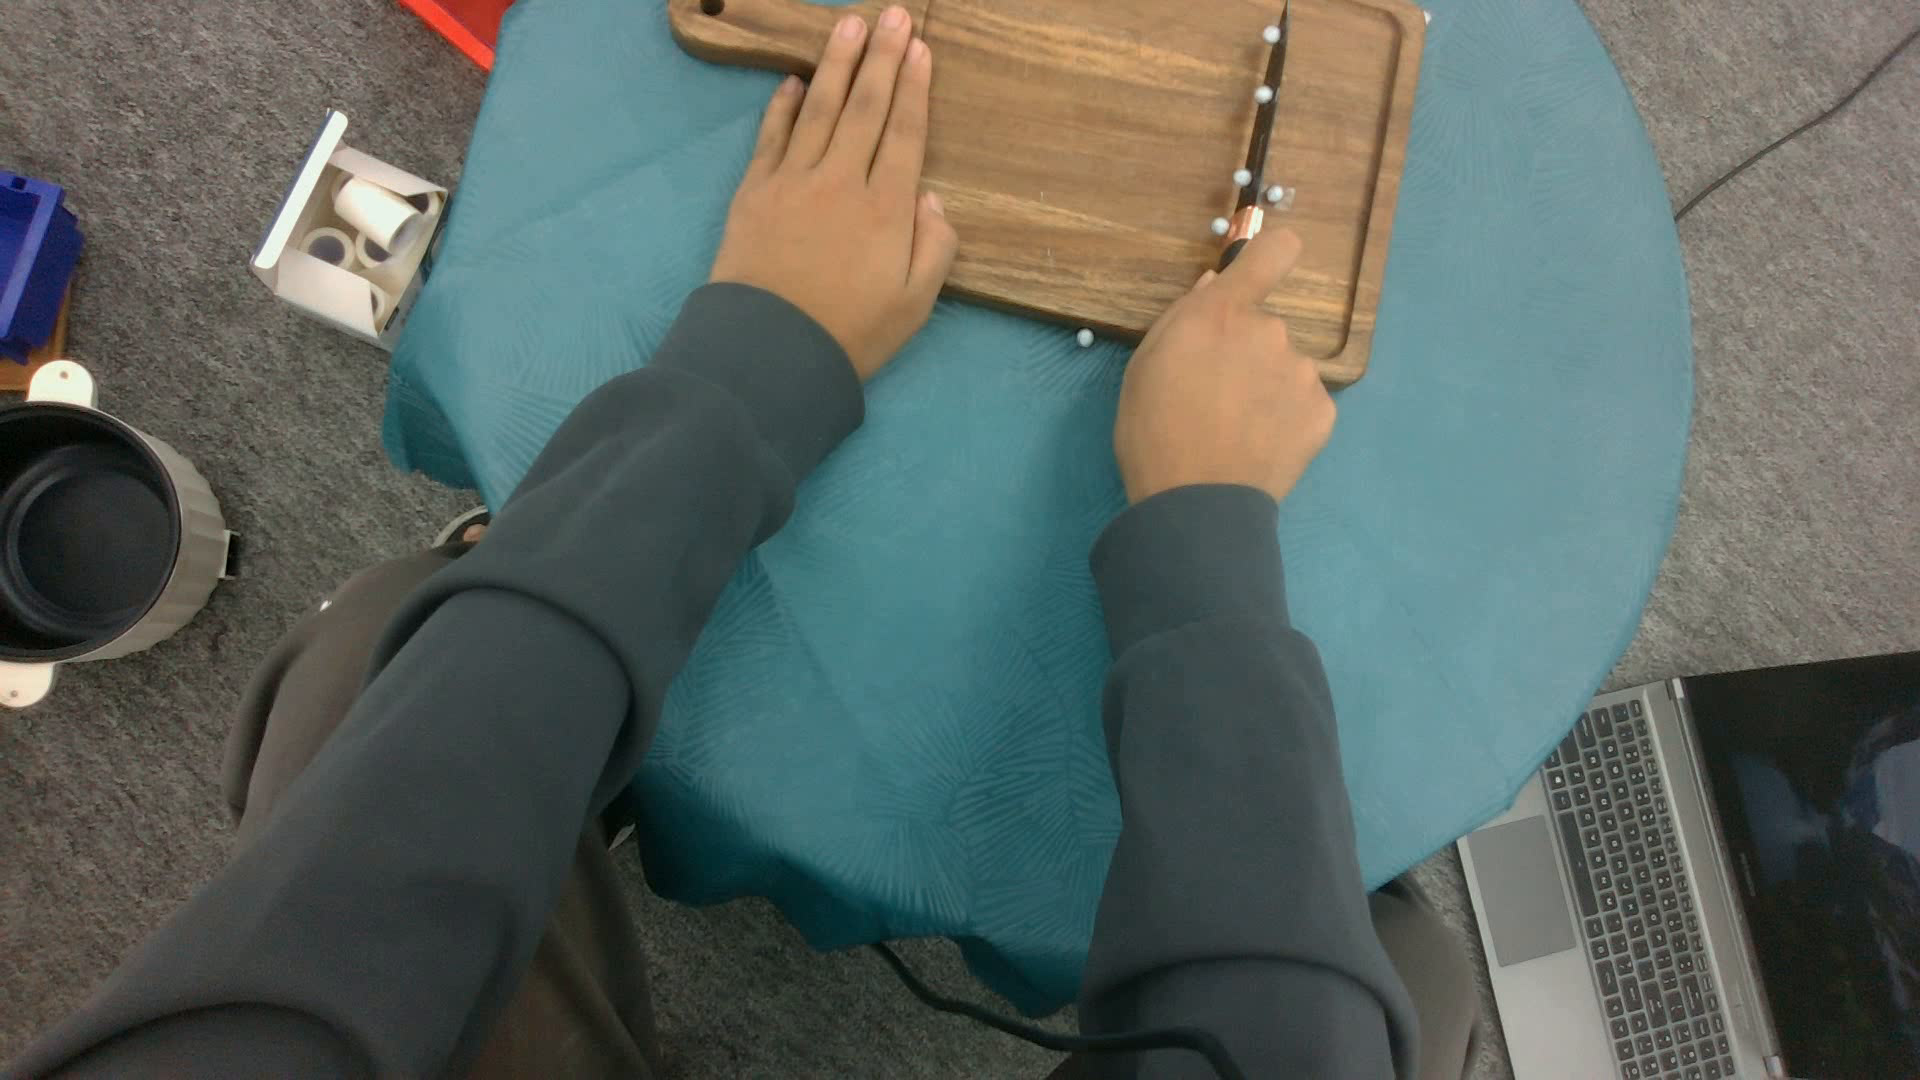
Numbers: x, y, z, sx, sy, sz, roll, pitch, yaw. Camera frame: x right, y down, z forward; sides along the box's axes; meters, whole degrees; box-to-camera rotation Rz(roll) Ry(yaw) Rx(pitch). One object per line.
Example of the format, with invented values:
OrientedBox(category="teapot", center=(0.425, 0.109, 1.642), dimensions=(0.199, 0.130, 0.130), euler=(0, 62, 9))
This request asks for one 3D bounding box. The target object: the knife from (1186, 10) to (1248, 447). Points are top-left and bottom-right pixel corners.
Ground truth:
OrientedBox(category="knife", center=(0.125, -0.151, 0.648), dimensions=(0.017, 0.026, 0.226), euler=(11, 78, -14))

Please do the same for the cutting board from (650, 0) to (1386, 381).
OrientedBox(category="cutting board", center=(0.030, -0.199, 0.660), dimensions=(0.352, 0.023, 0.201), euler=(9, 81, -6))
